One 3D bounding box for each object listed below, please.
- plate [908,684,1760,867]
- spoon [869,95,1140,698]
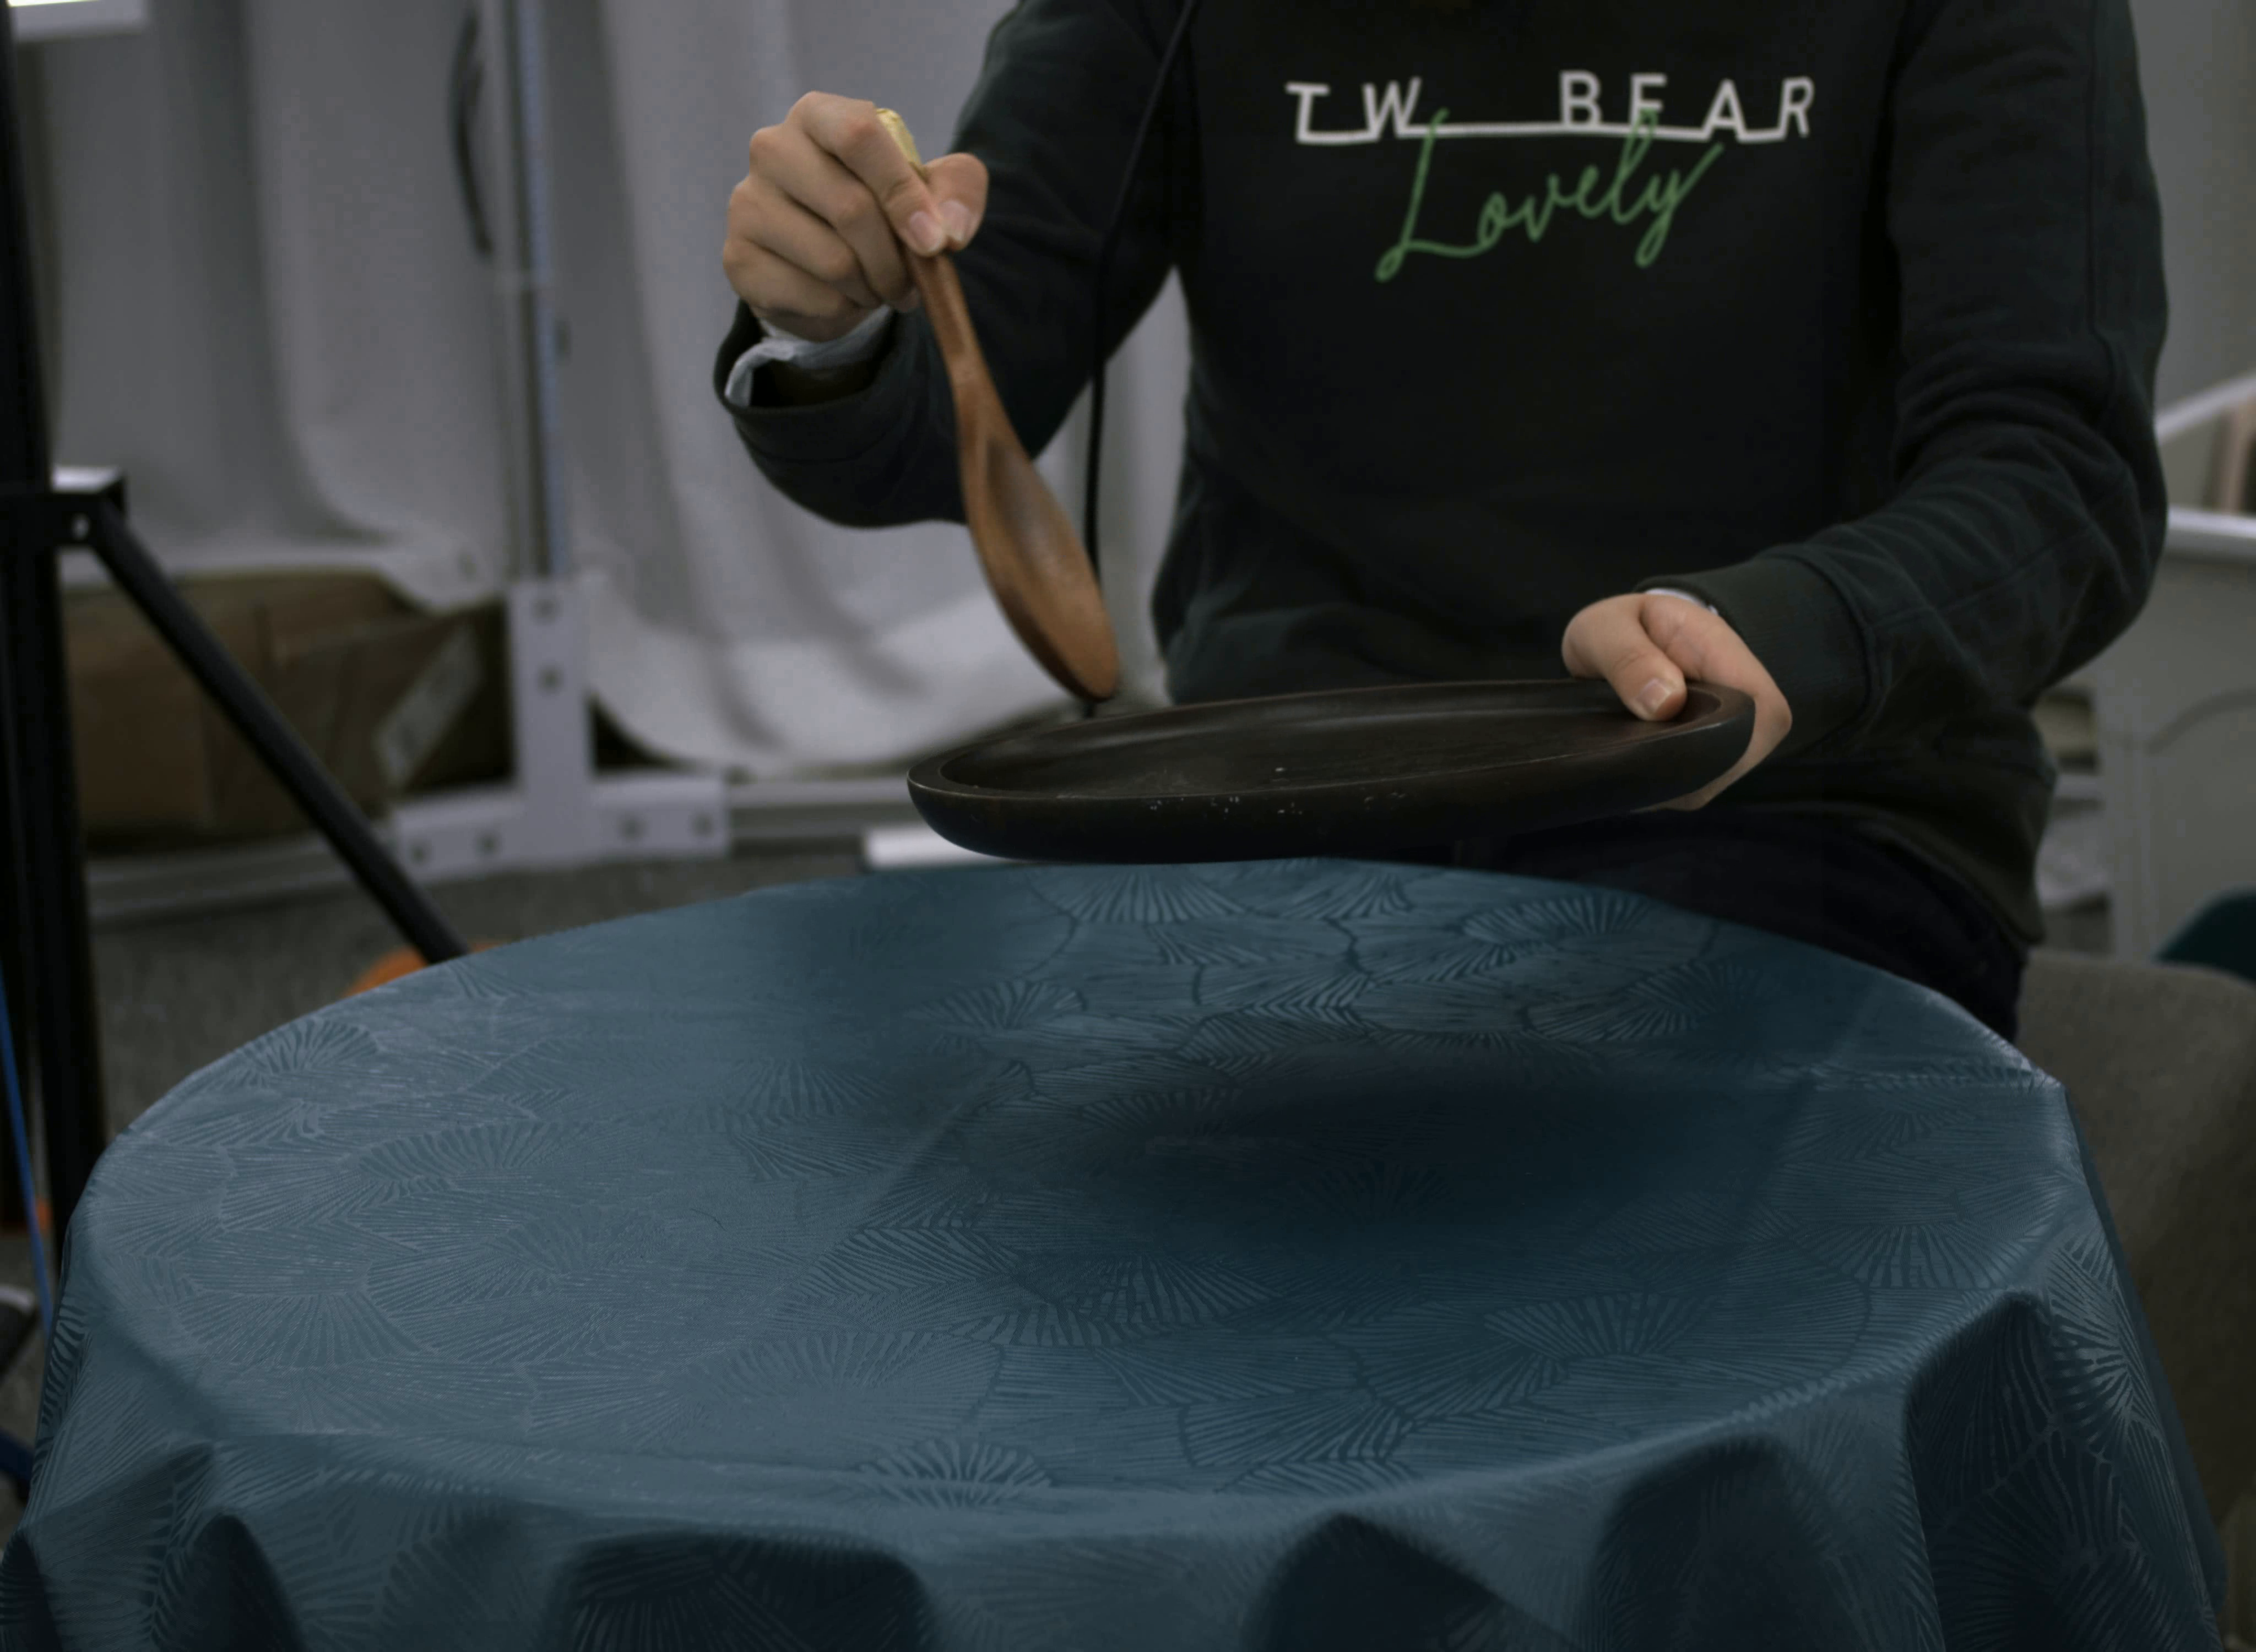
[{"bbox_3d":[0.061,-0.017,1.574,0.253,0.029,0.255,-5,9,-1],"label":"plate"},{"bbox_3d":[-0.043,-0.132,1.646,0.017,0.219,0.074,-28,-25,19],"label":"spoon"}]
